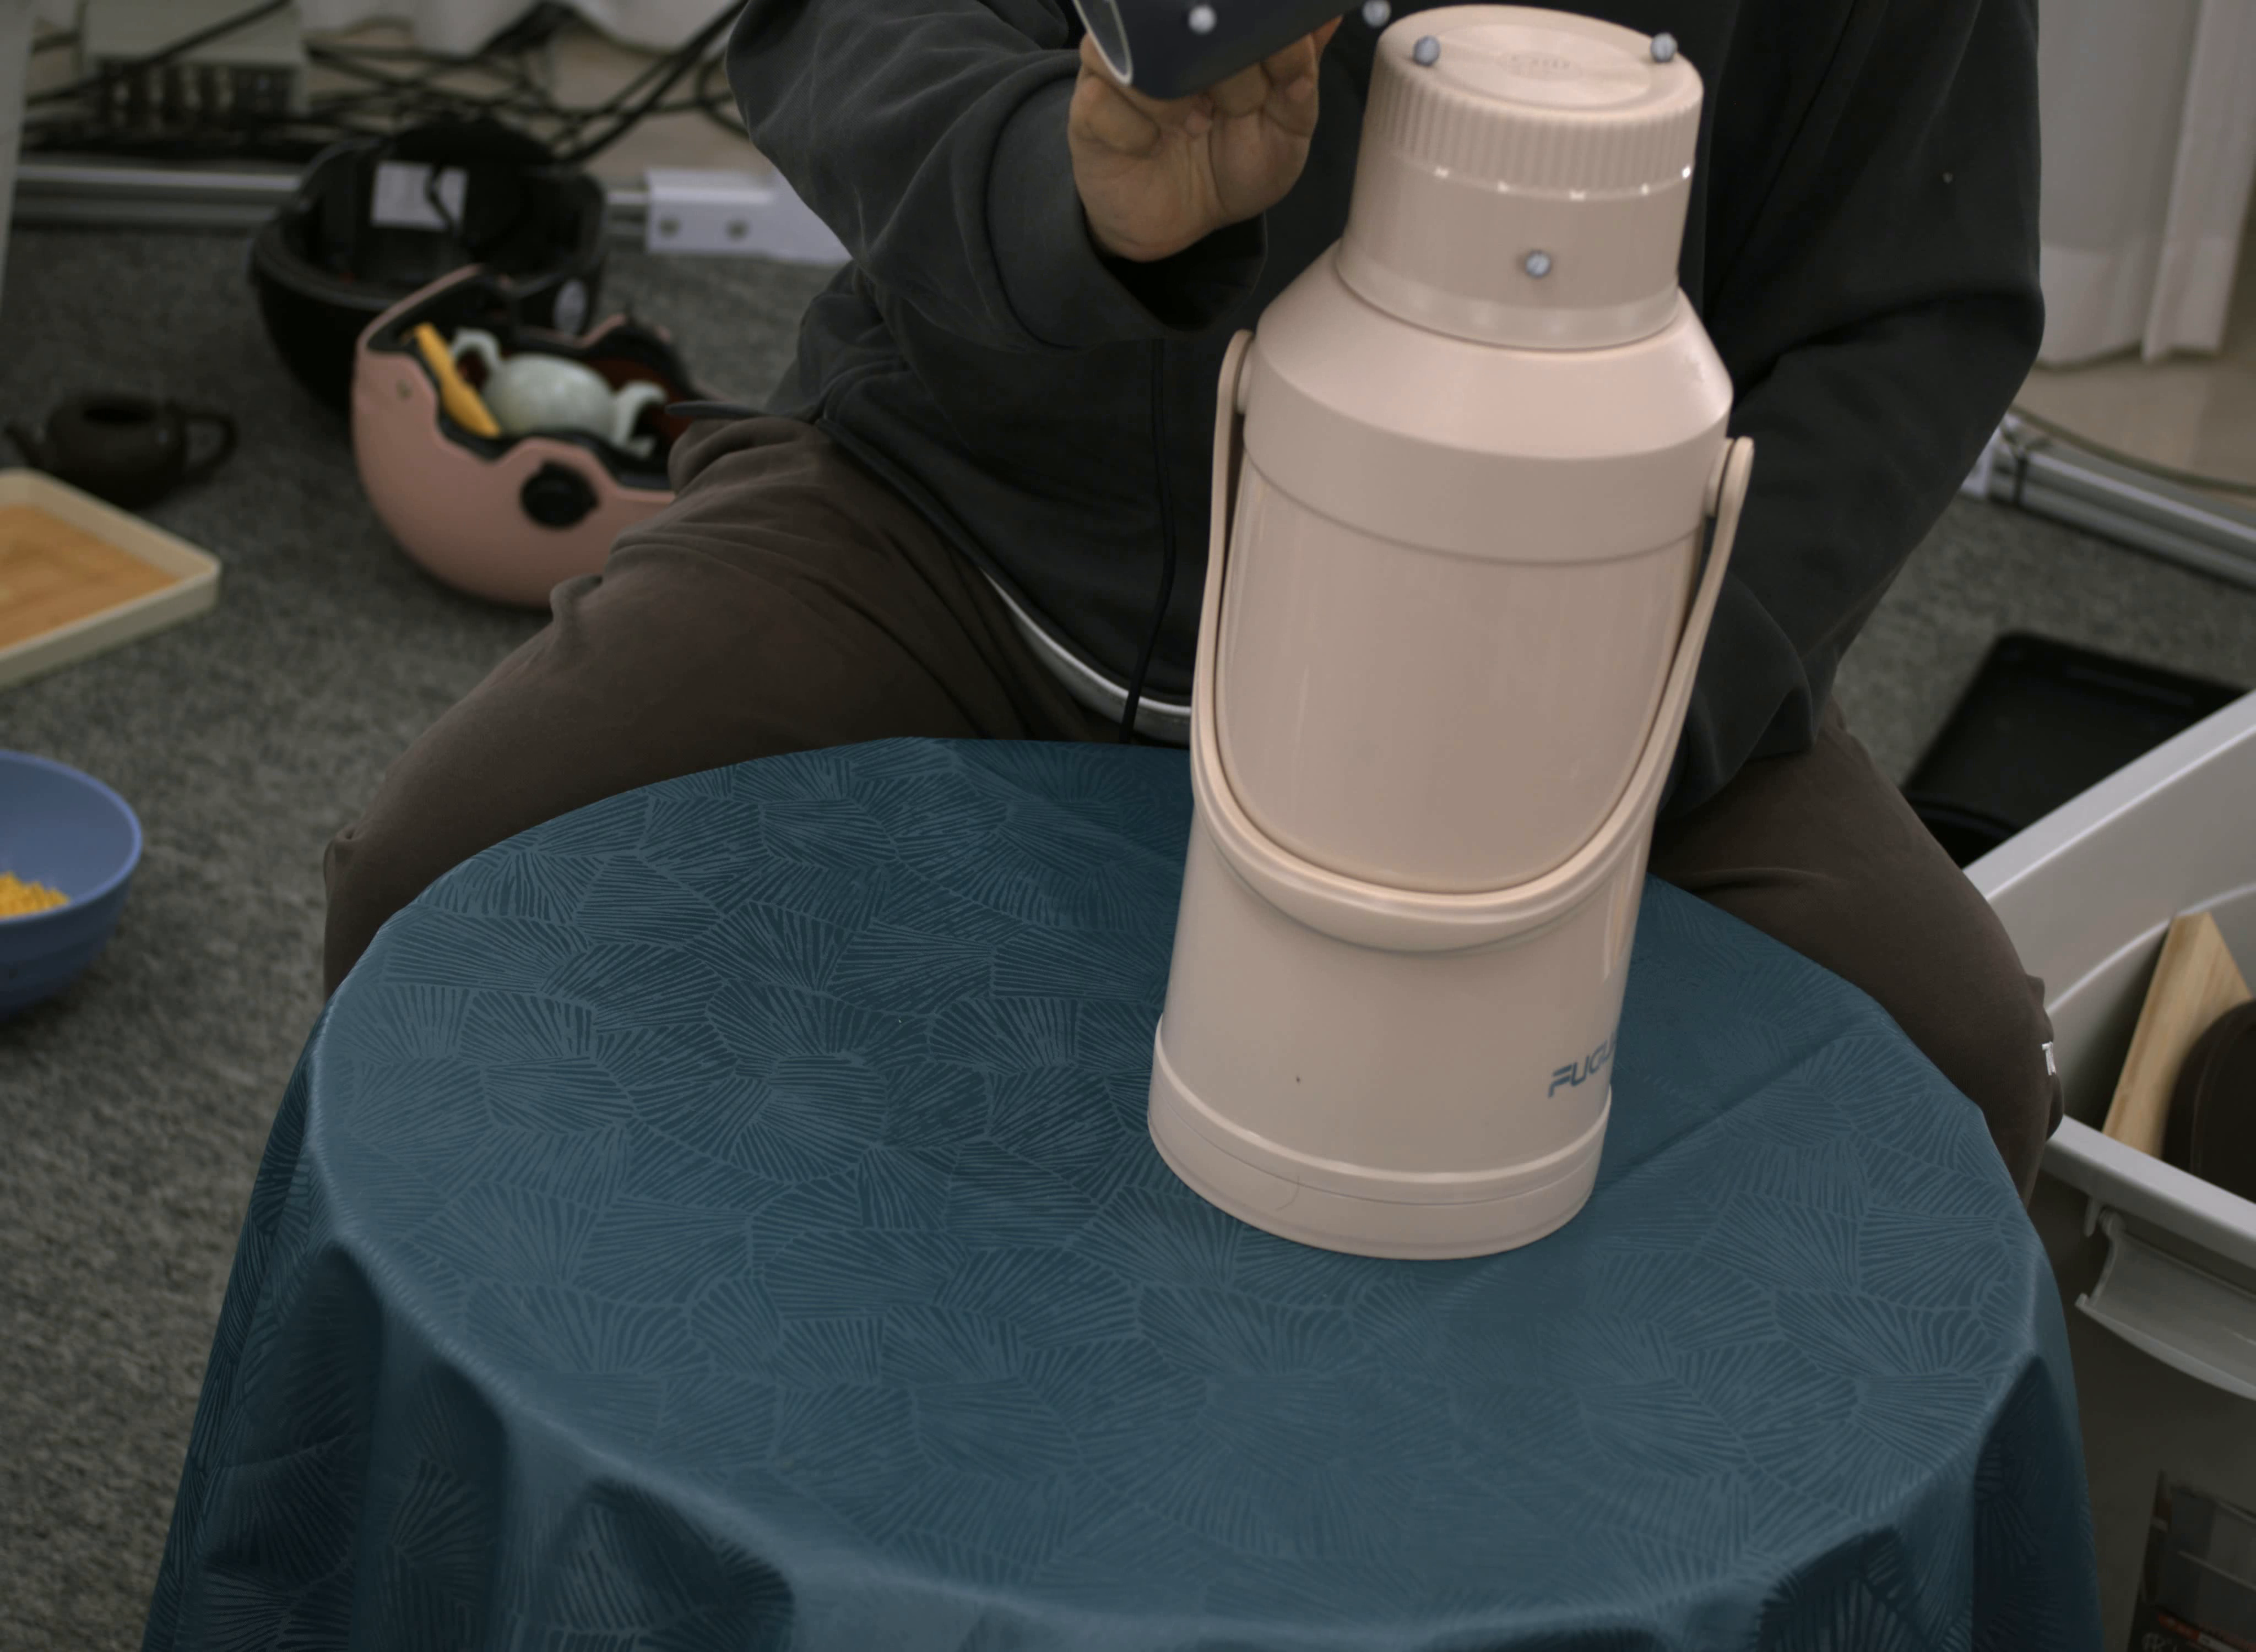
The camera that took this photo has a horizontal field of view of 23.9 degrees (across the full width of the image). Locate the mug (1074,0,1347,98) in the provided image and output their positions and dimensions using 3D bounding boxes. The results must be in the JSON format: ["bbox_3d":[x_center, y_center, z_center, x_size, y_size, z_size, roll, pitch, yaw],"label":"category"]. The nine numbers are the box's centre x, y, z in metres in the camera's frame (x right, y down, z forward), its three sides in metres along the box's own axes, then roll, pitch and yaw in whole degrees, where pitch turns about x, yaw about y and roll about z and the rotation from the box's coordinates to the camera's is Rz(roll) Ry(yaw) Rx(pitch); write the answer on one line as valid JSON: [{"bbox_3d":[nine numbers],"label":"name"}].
[{"bbox_3d":[0.026,-0.273,1.648,0.089,0.122,0.094,-24,61,-5],"label":"mug"}]

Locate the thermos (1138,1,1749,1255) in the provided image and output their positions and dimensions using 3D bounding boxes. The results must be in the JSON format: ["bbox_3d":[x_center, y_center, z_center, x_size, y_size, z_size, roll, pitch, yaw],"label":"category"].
[{"bbox_3d":[0.110,-0.072,1.781,0.175,0.405,0.207,13,27,11],"label":"thermos"}]
